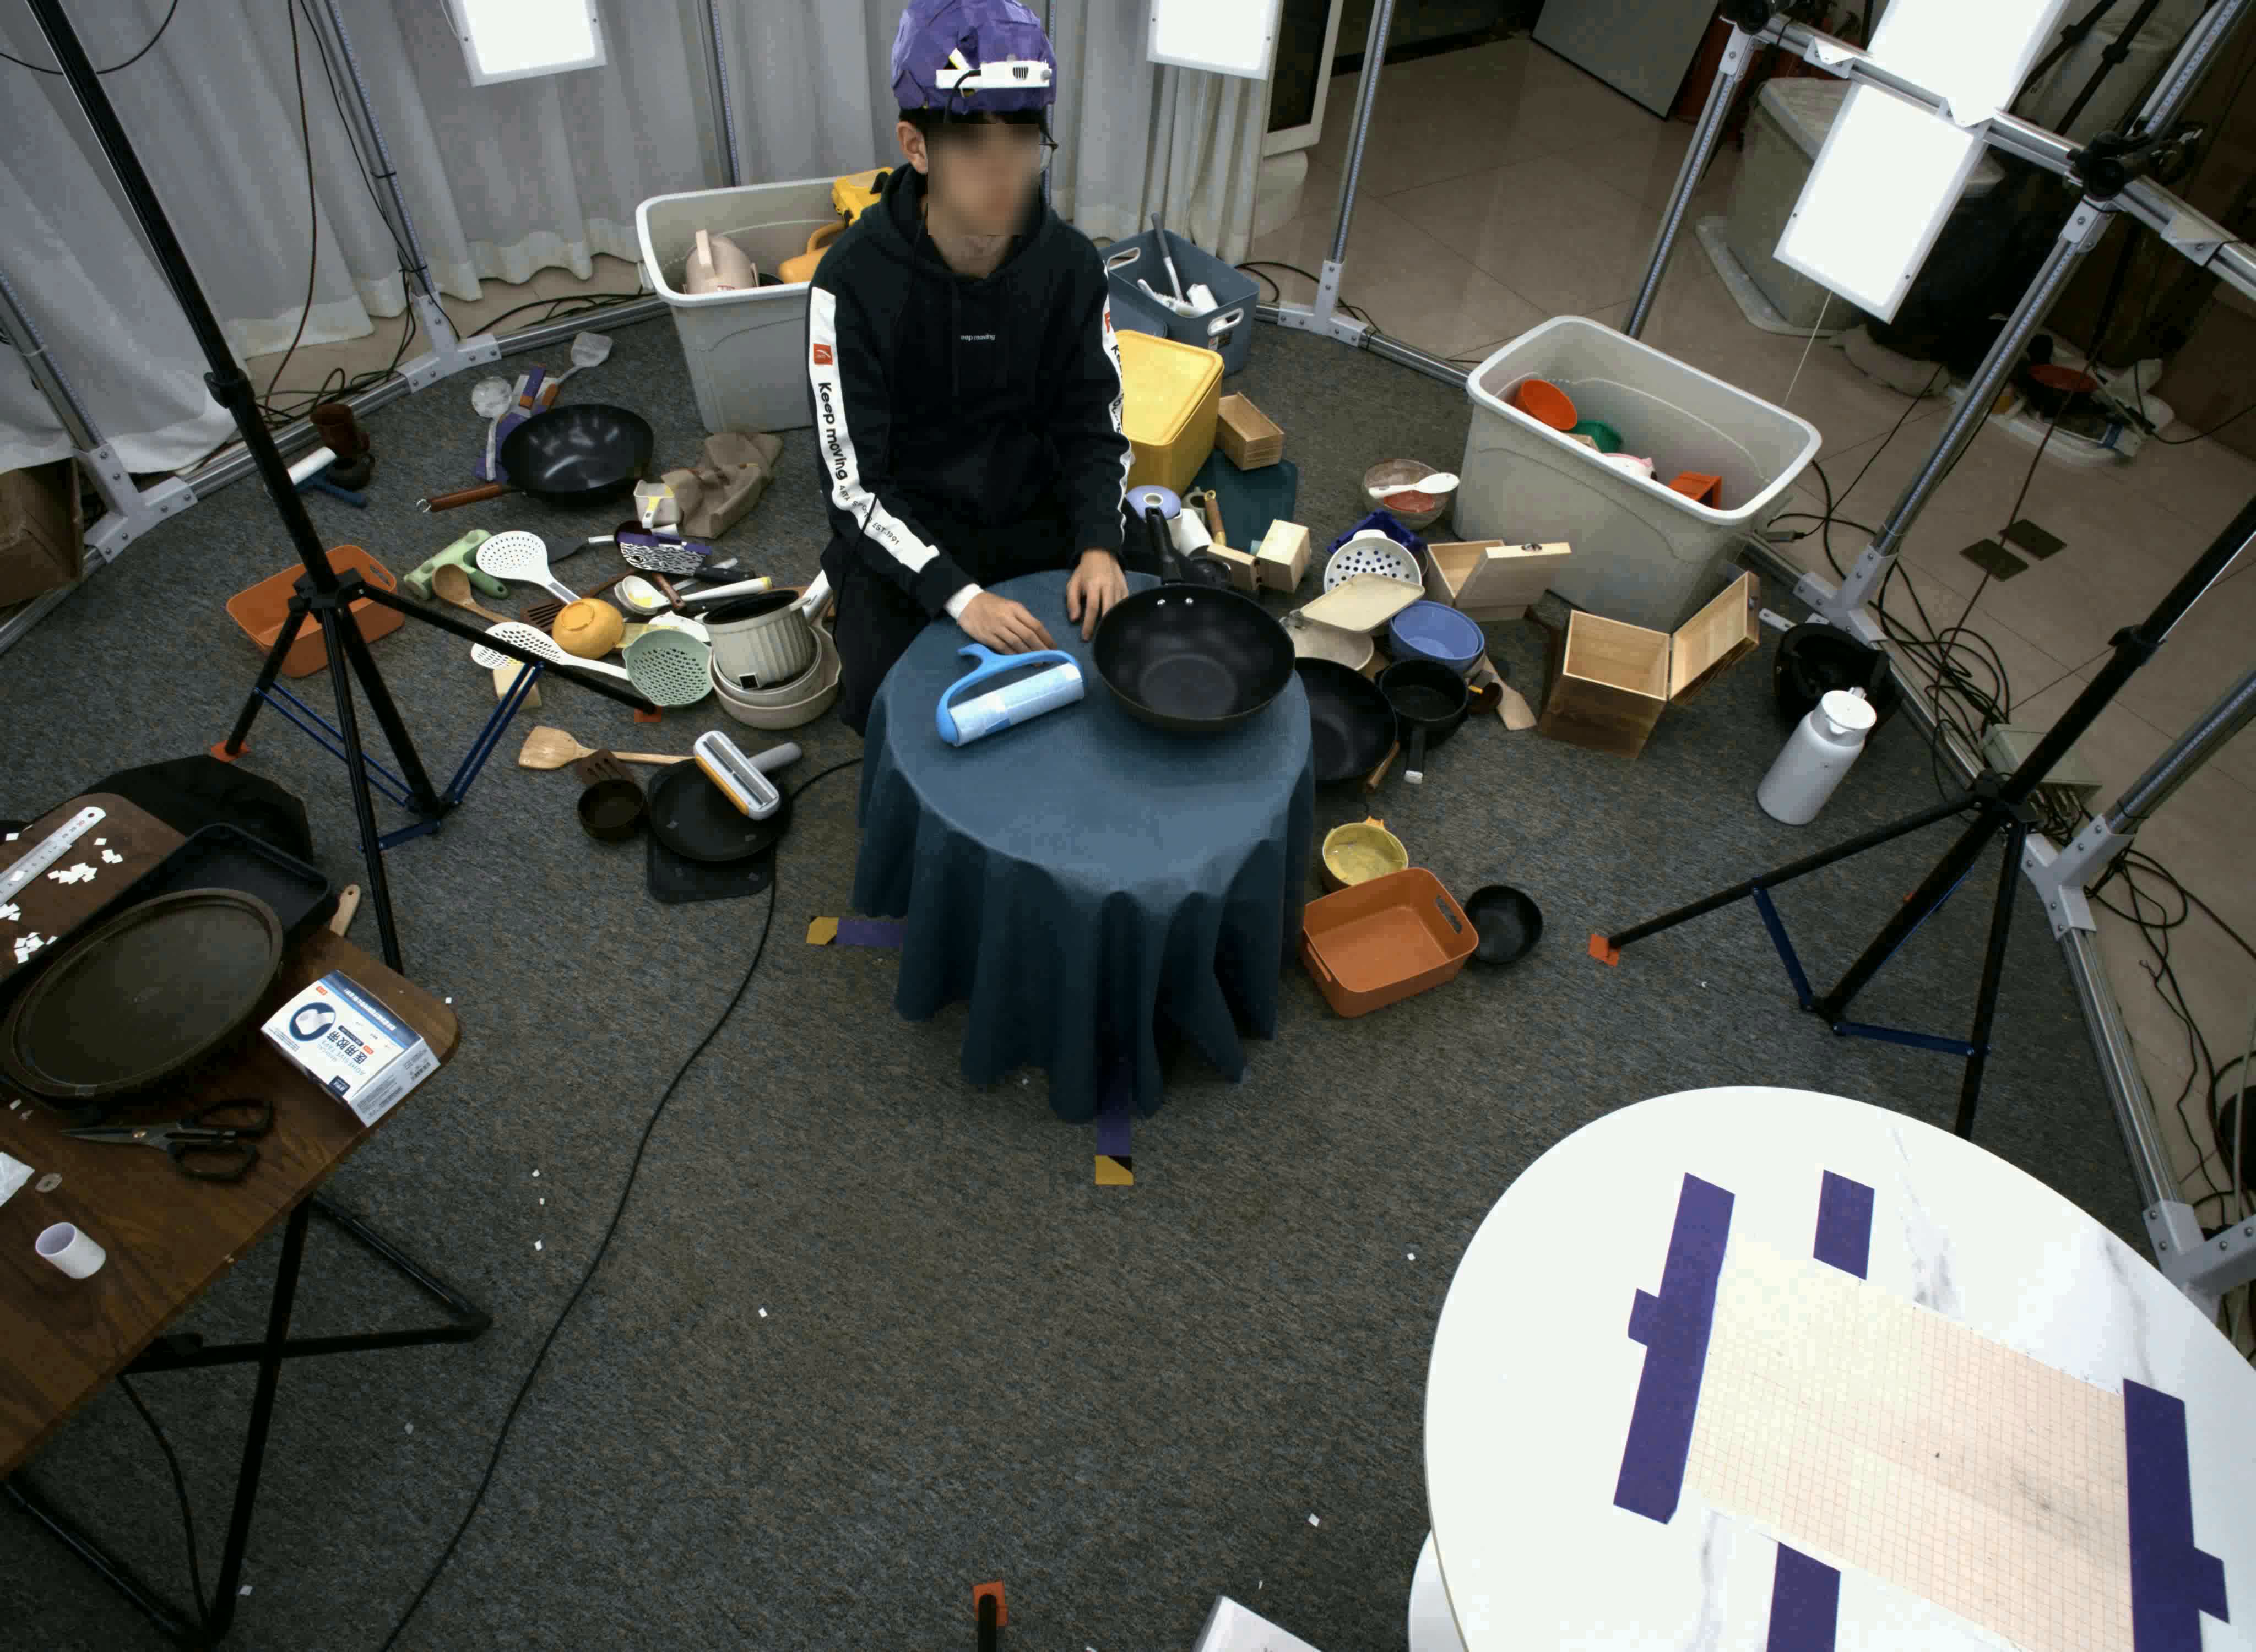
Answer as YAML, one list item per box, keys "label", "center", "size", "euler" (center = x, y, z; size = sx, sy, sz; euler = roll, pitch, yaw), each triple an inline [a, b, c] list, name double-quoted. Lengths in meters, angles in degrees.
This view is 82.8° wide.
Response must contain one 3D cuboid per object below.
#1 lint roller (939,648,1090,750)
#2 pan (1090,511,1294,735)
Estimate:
- label: "lint roller"
  center: [-0.187, -0.206, 1.798]
  size: [0.230, 0.066, 0.183]
  euler: [-28, 57, -23]
- label: "pan"
  center: [0.074, -0.290, 1.872]
  size: [0.288, 0.085, 0.475]
  euler: [-4, 49, -8]
